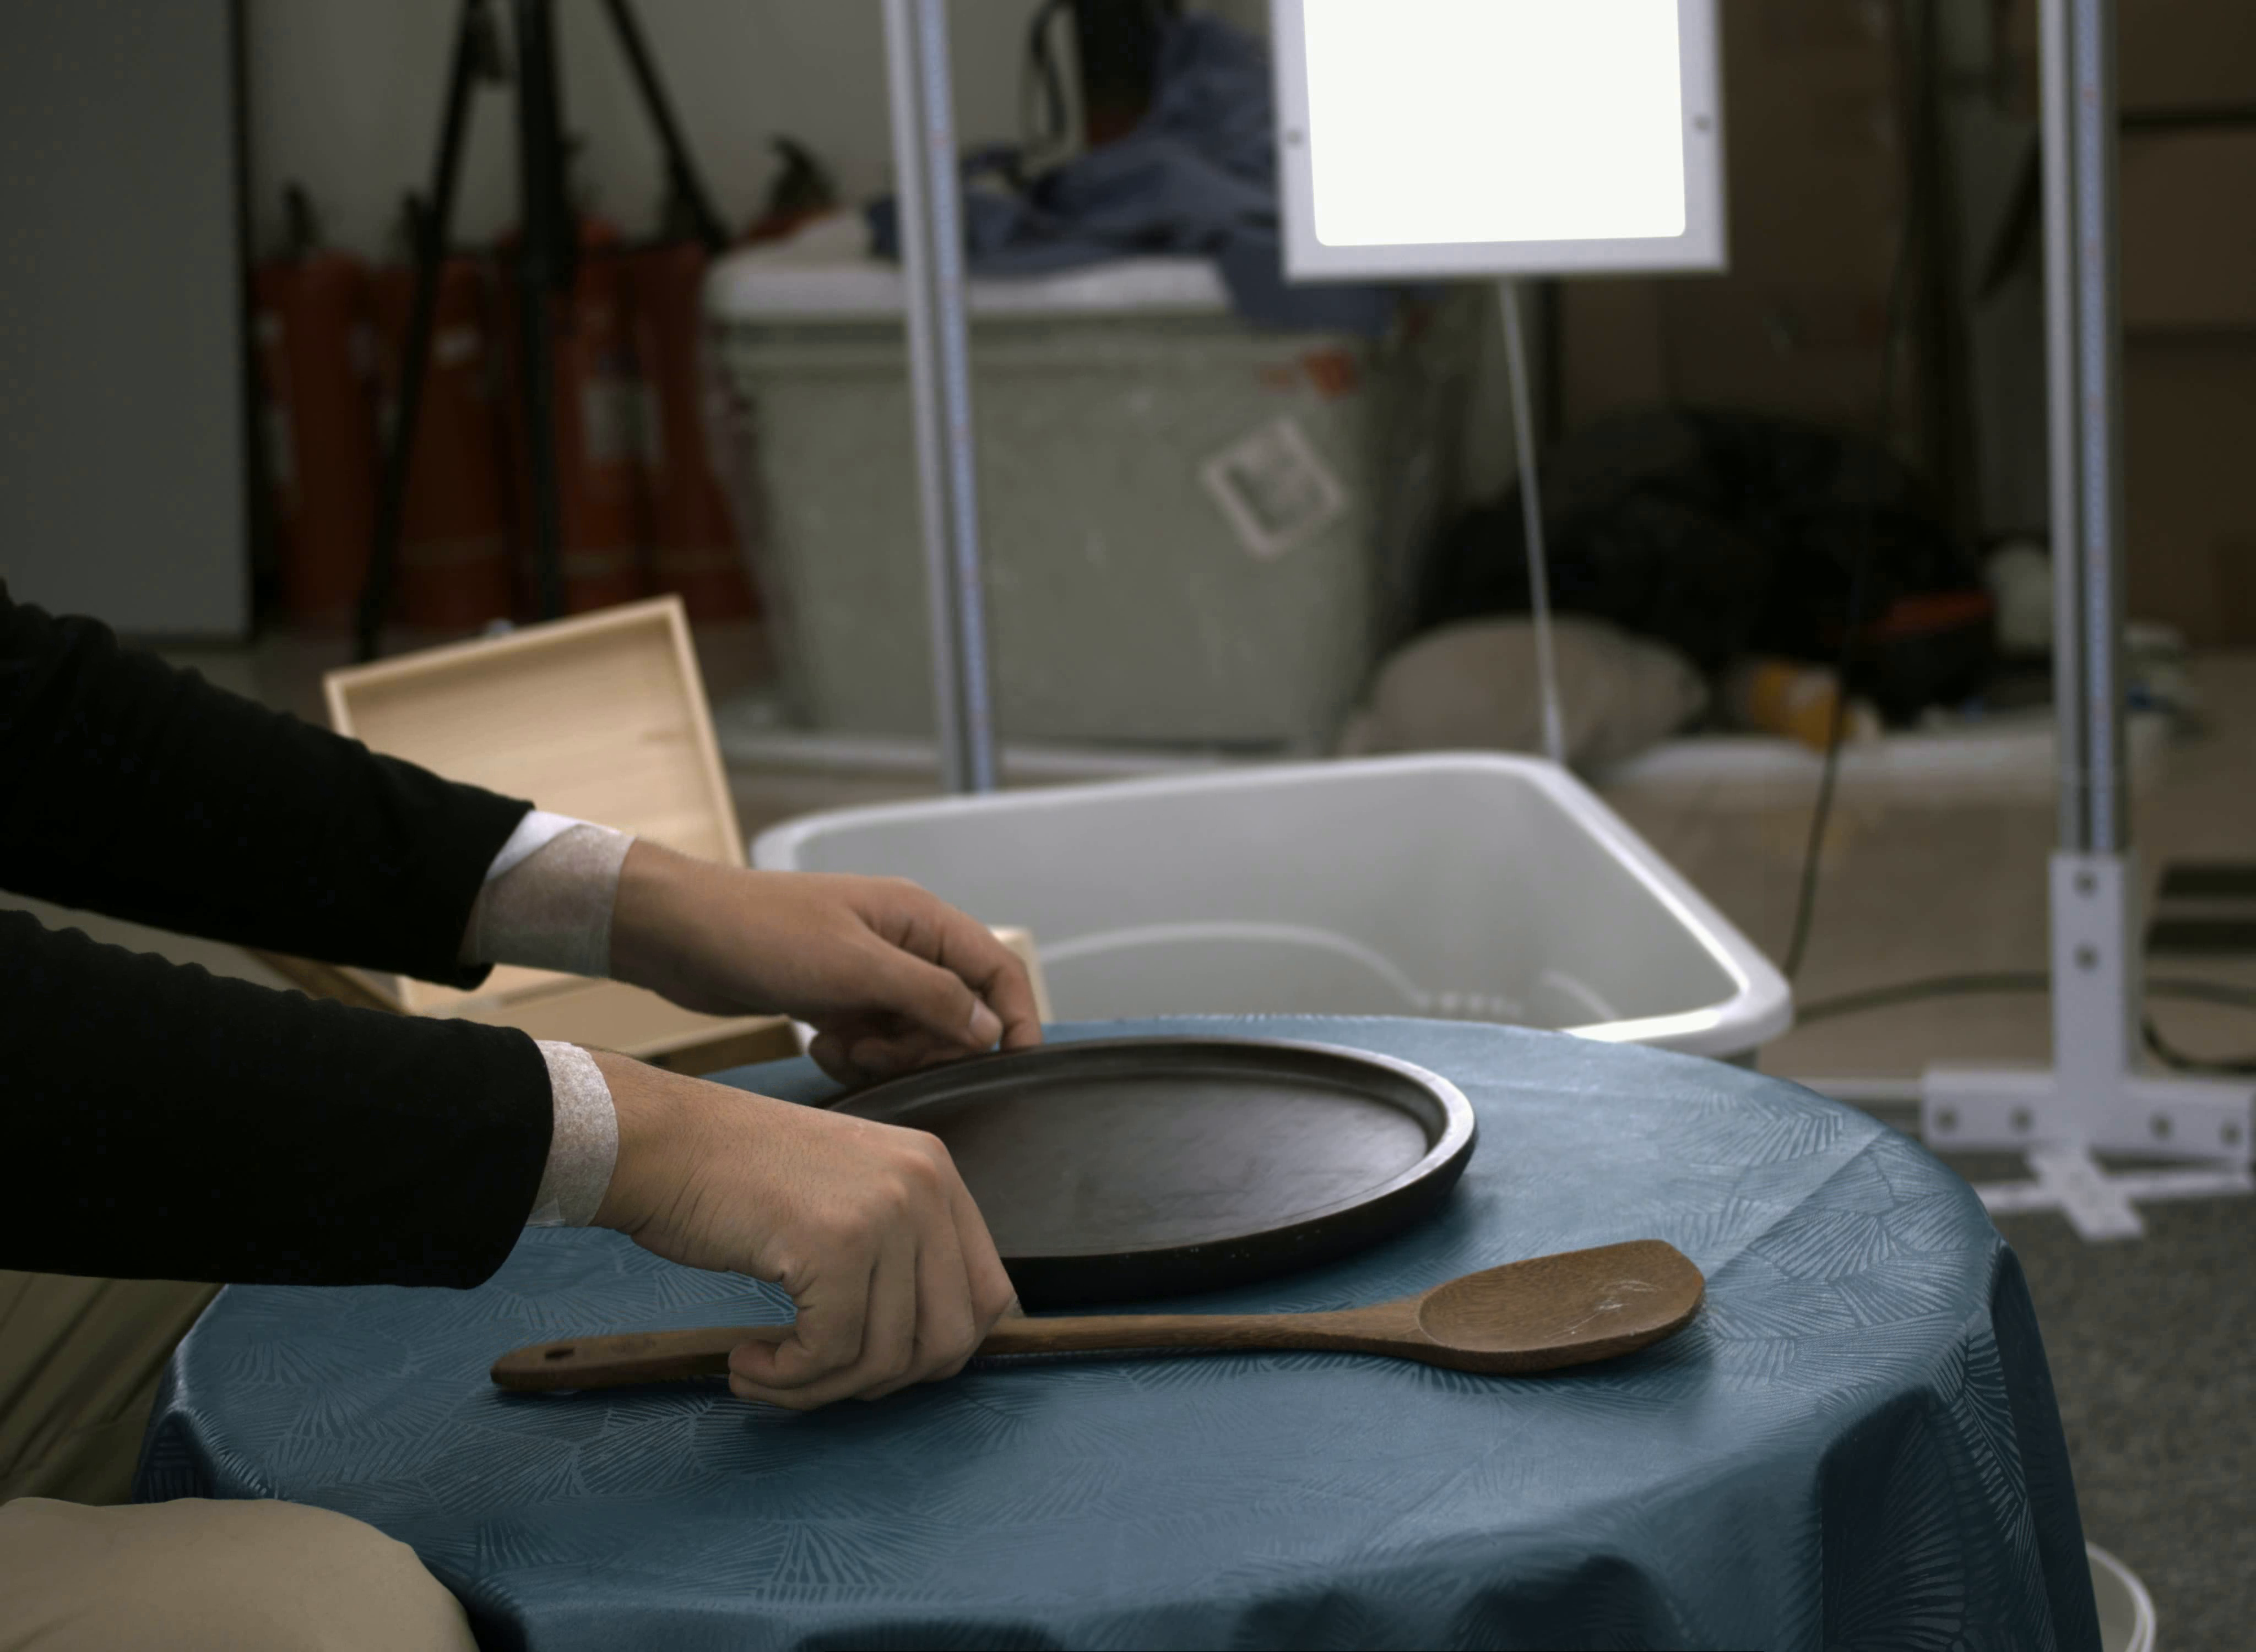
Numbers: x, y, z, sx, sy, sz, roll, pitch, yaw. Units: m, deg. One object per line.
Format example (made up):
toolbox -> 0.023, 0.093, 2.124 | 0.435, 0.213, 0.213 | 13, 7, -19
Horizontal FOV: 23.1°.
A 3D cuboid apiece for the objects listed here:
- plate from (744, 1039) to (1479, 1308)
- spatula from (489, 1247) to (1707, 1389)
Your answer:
plate -> -0.005, 0.116, 1.891 | 0.254, 0.029, 0.254 | -5, 15, 0
spatula -> -0.011, 0.159, 1.732 | 0.386, 0.016, 0.095 | -3, 13, 5
